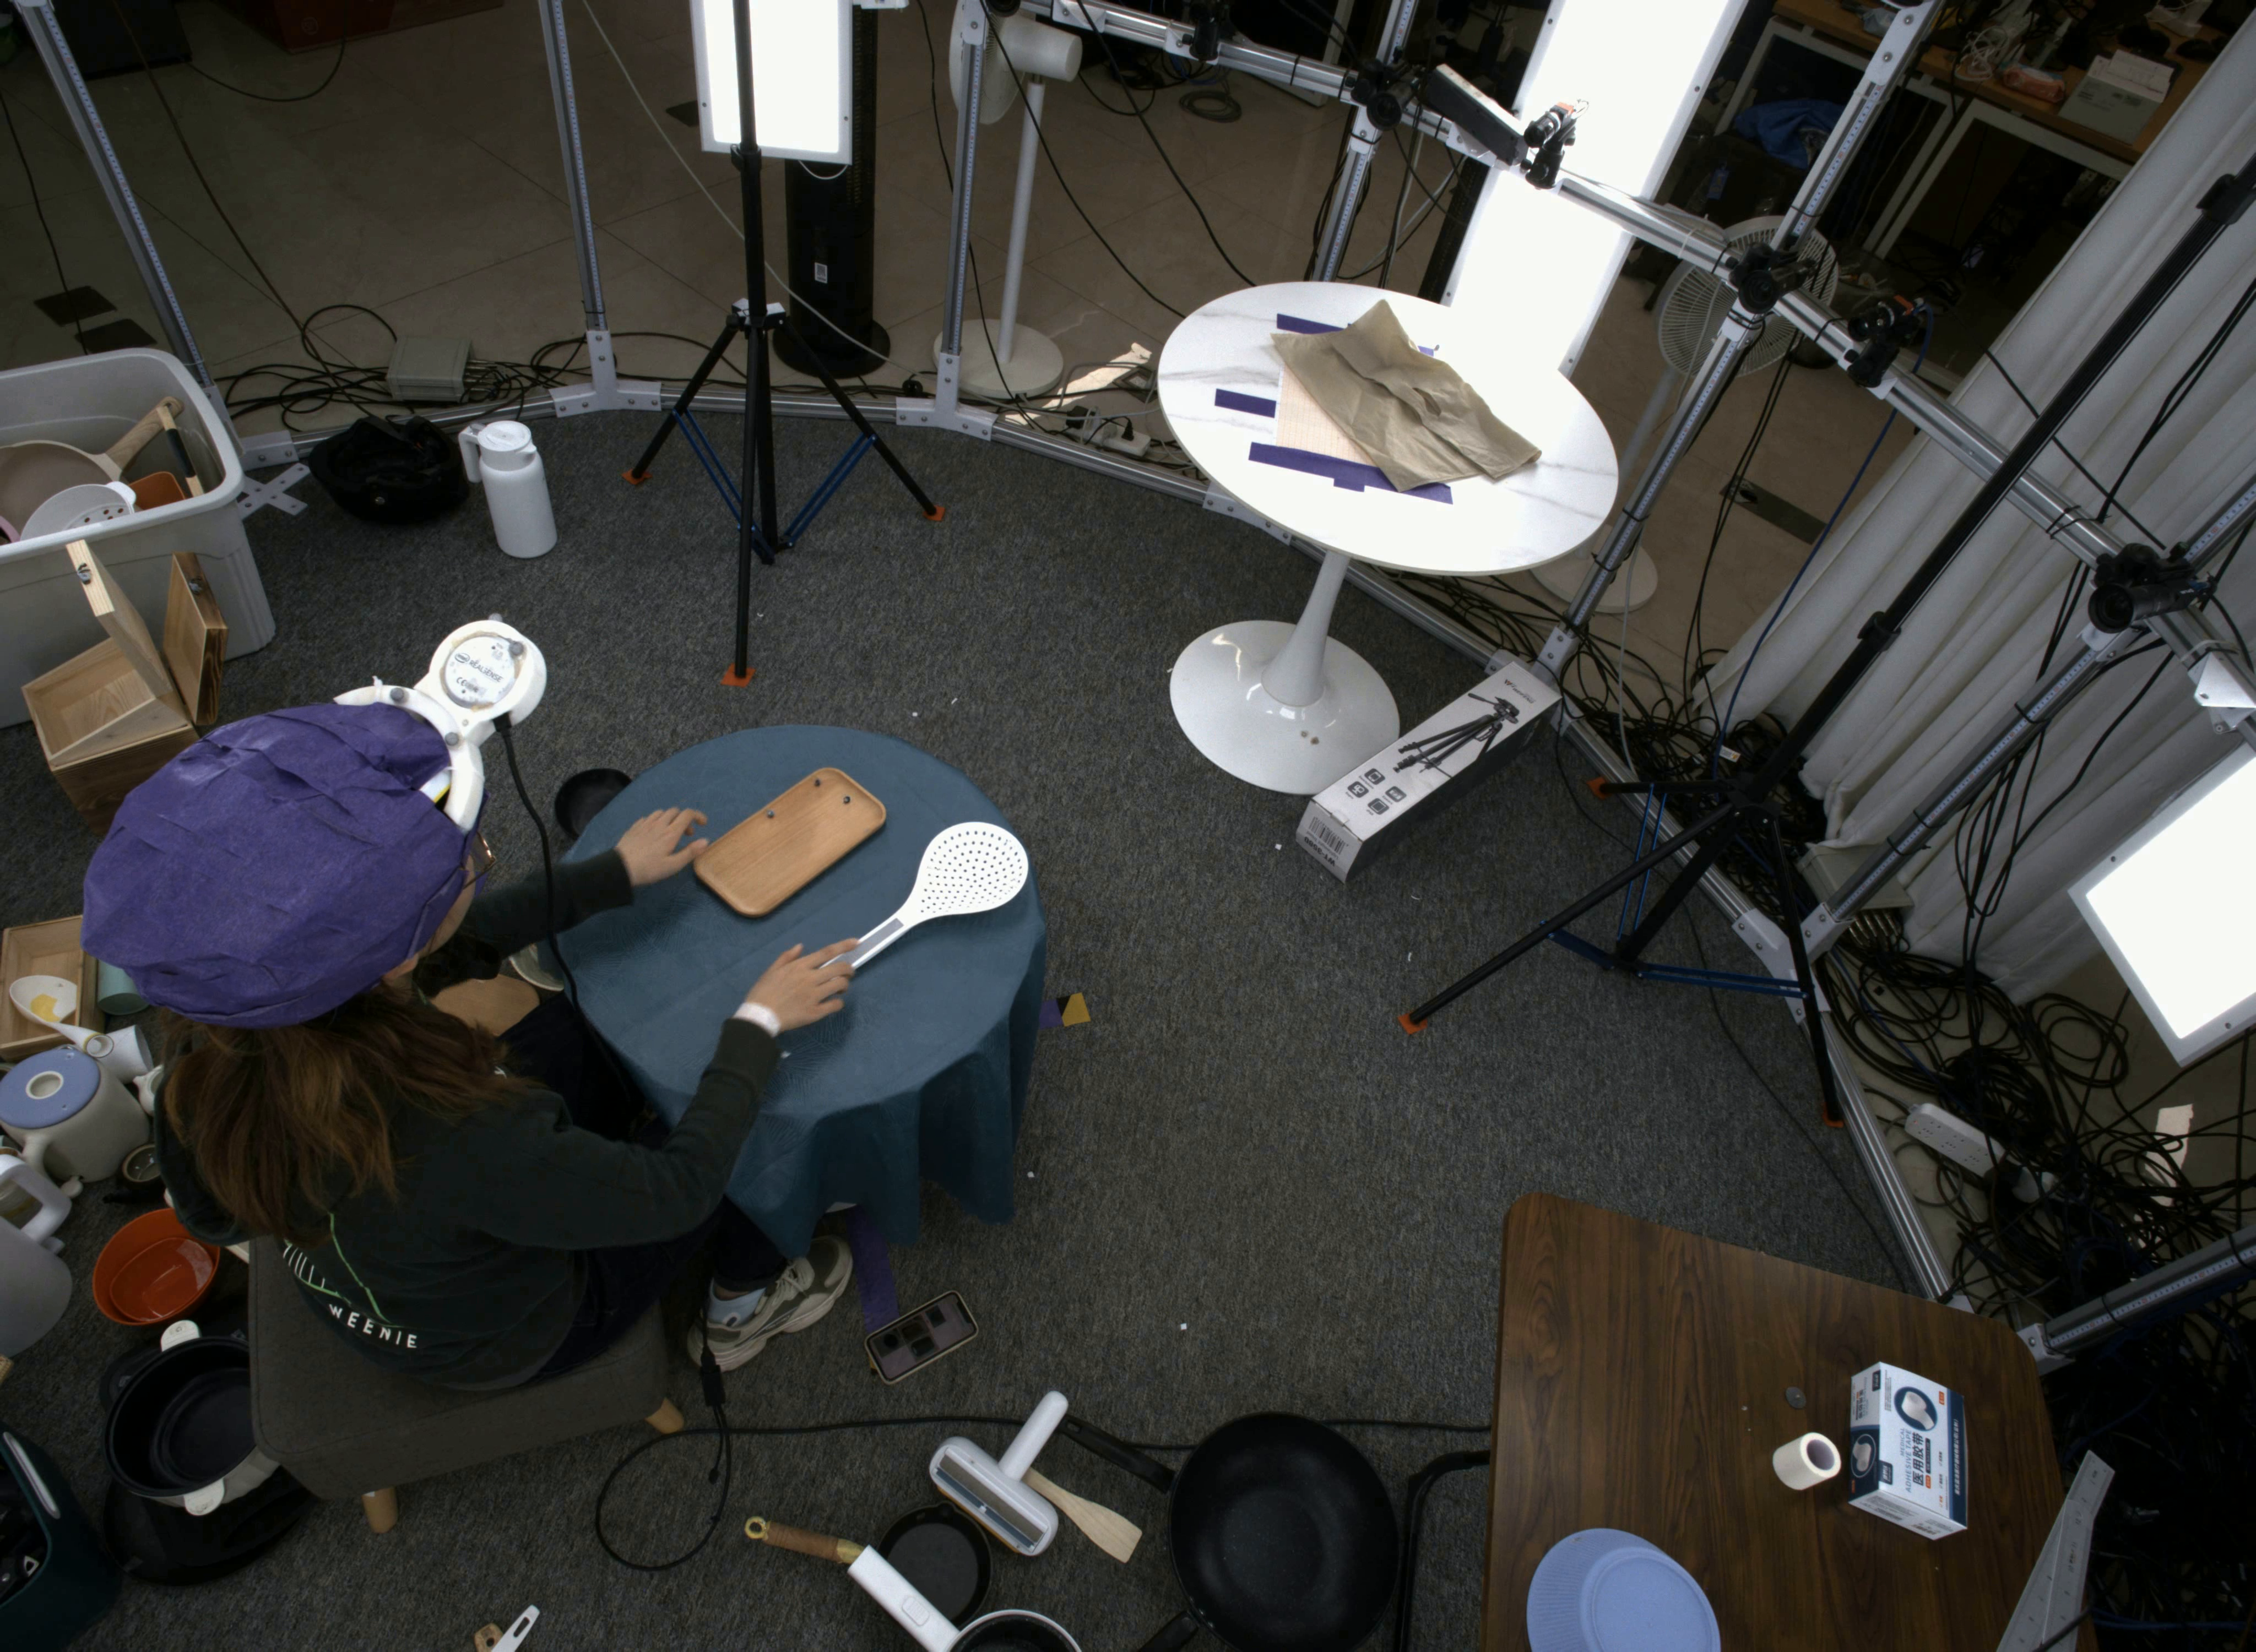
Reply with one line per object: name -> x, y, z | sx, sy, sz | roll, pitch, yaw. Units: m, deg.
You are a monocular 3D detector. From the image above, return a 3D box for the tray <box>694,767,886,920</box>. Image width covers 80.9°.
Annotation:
tray -> -0.441, 0.019, 1.700 | 0.127, 0.023, 0.251 | 37, 55, 16

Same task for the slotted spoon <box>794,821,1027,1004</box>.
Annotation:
slotted spoon -> -0.276, 0.112, 1.655 | 0.133, 0.047, 0.350 | 42, 56, 19
